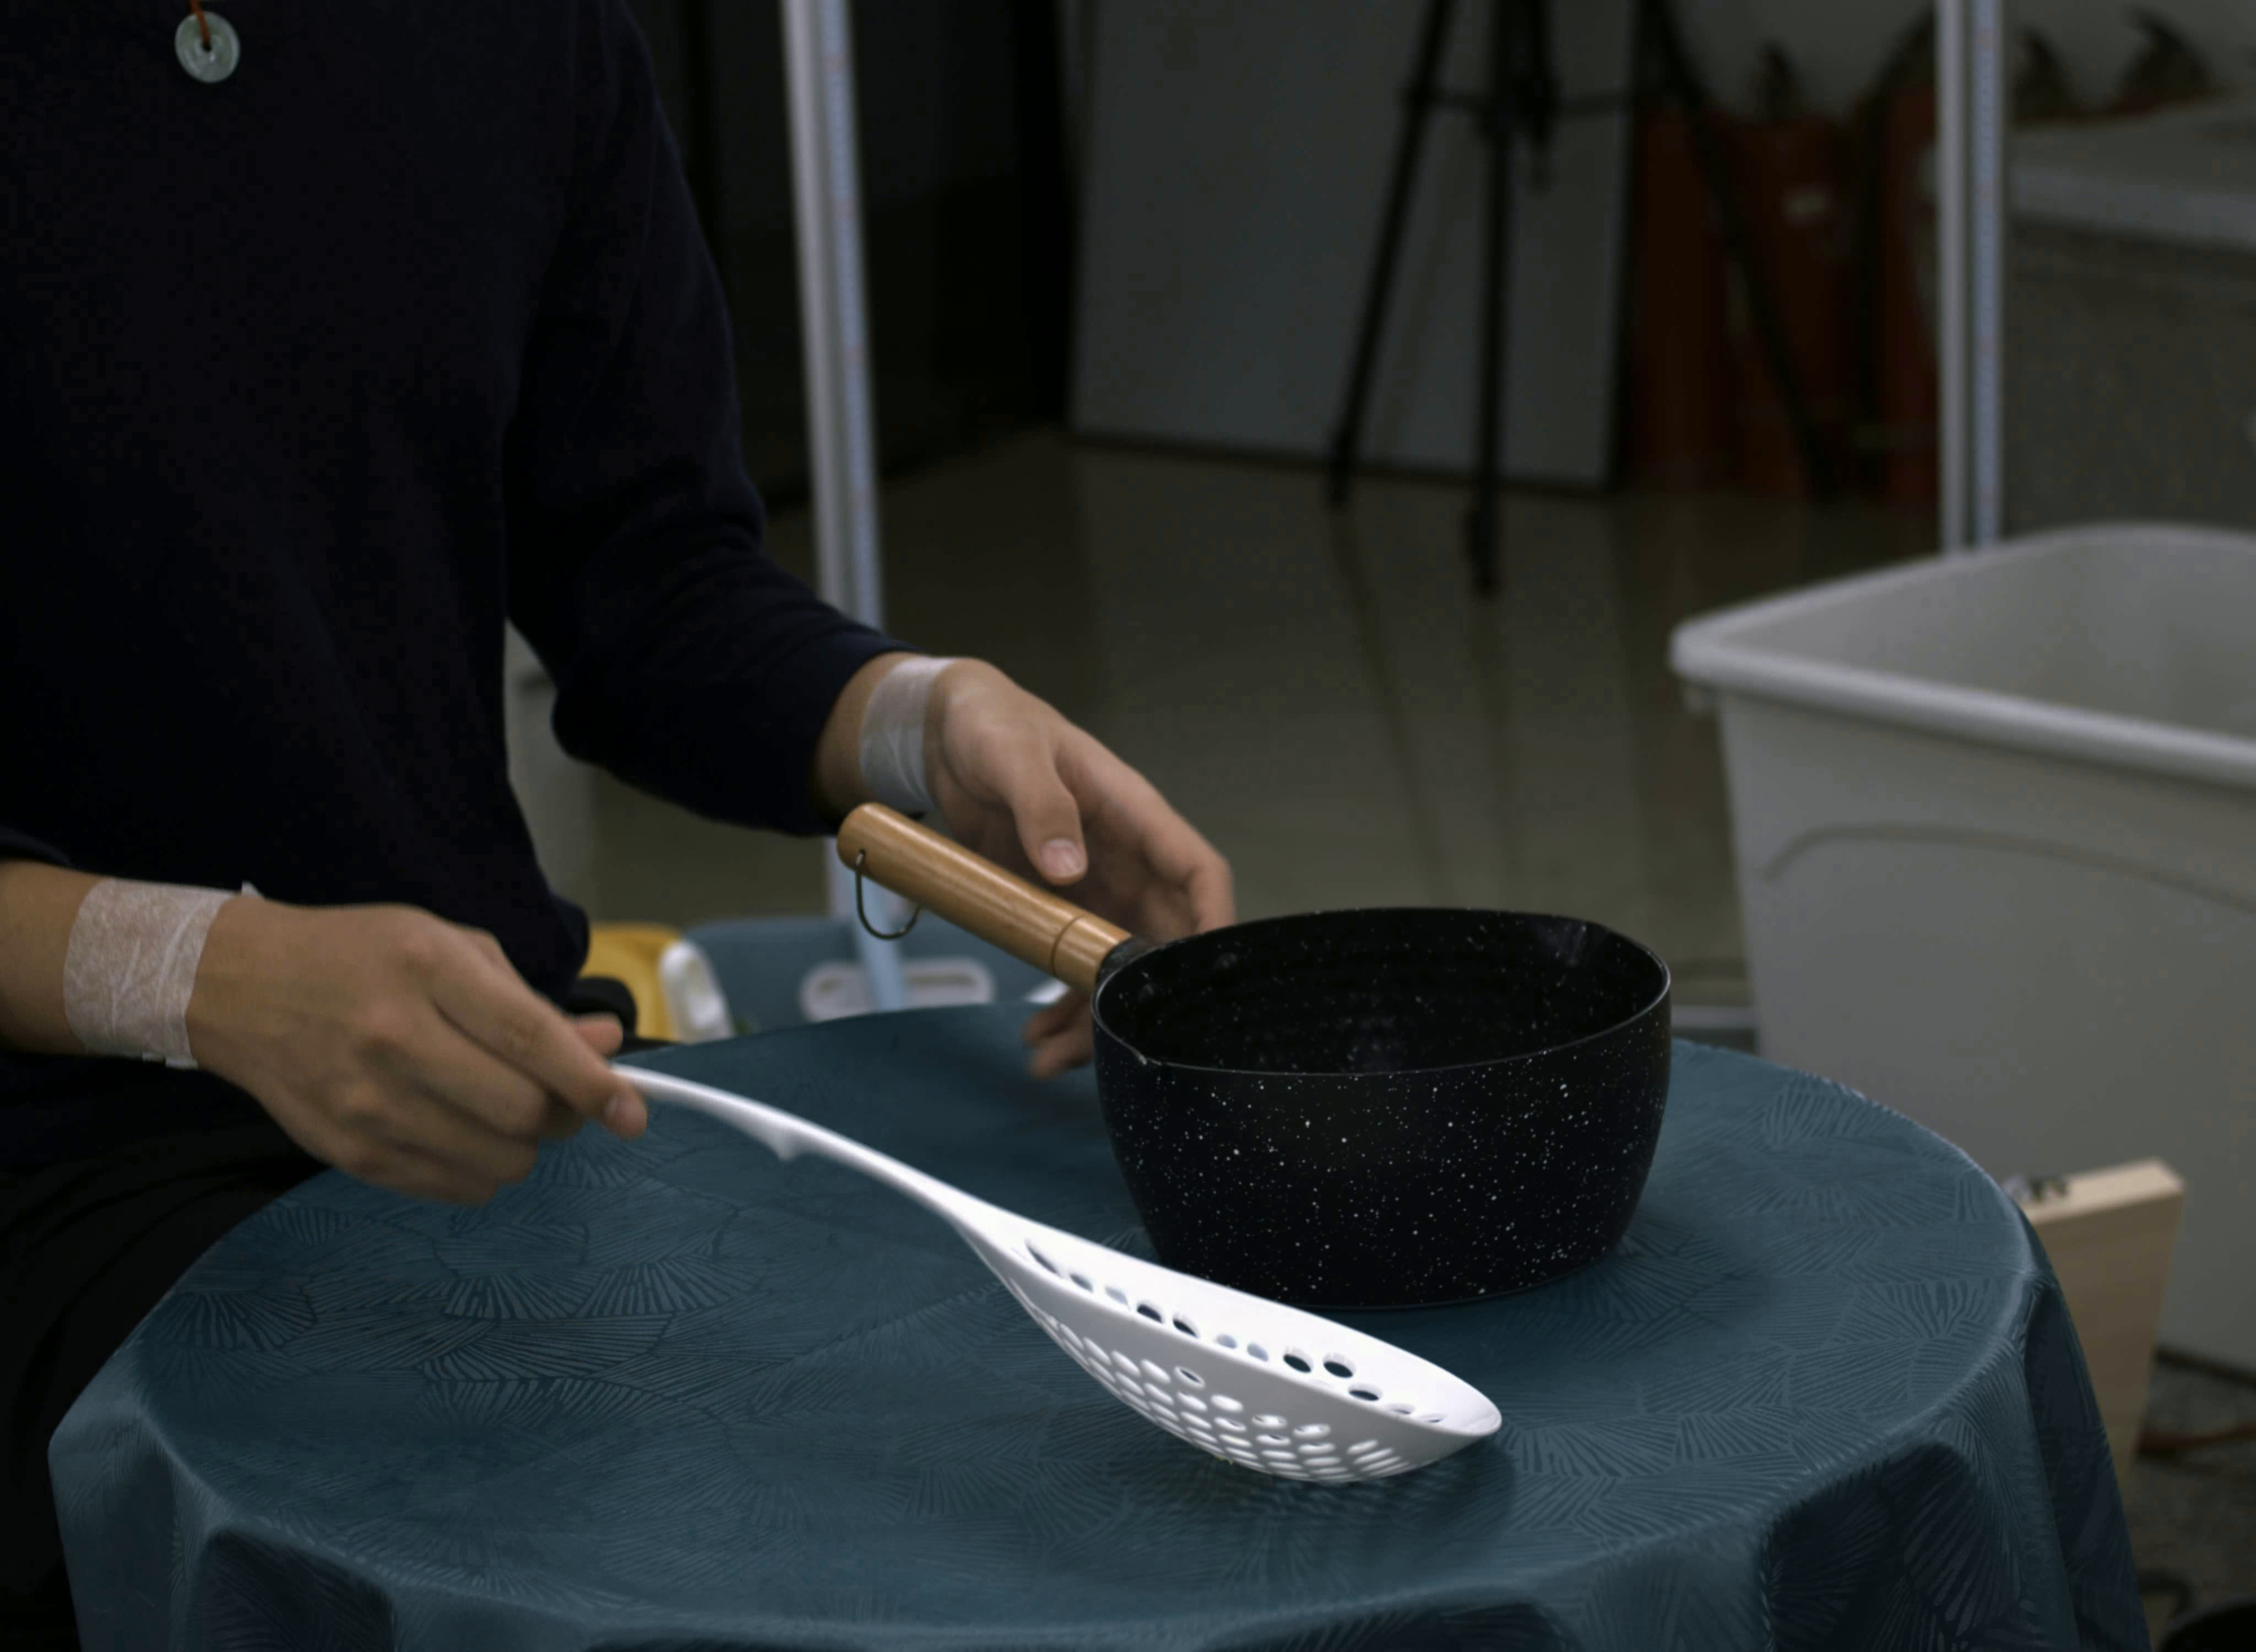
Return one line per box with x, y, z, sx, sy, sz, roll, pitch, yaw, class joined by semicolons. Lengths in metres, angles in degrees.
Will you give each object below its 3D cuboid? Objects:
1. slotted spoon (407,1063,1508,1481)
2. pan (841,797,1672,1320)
-0.055;0.117;1.546;0.349;0.051;0.135;24;5;23;slotted spoon
0.025;0.068;1.752;0.203;0.109;0.346;-18;21;-41;pan
